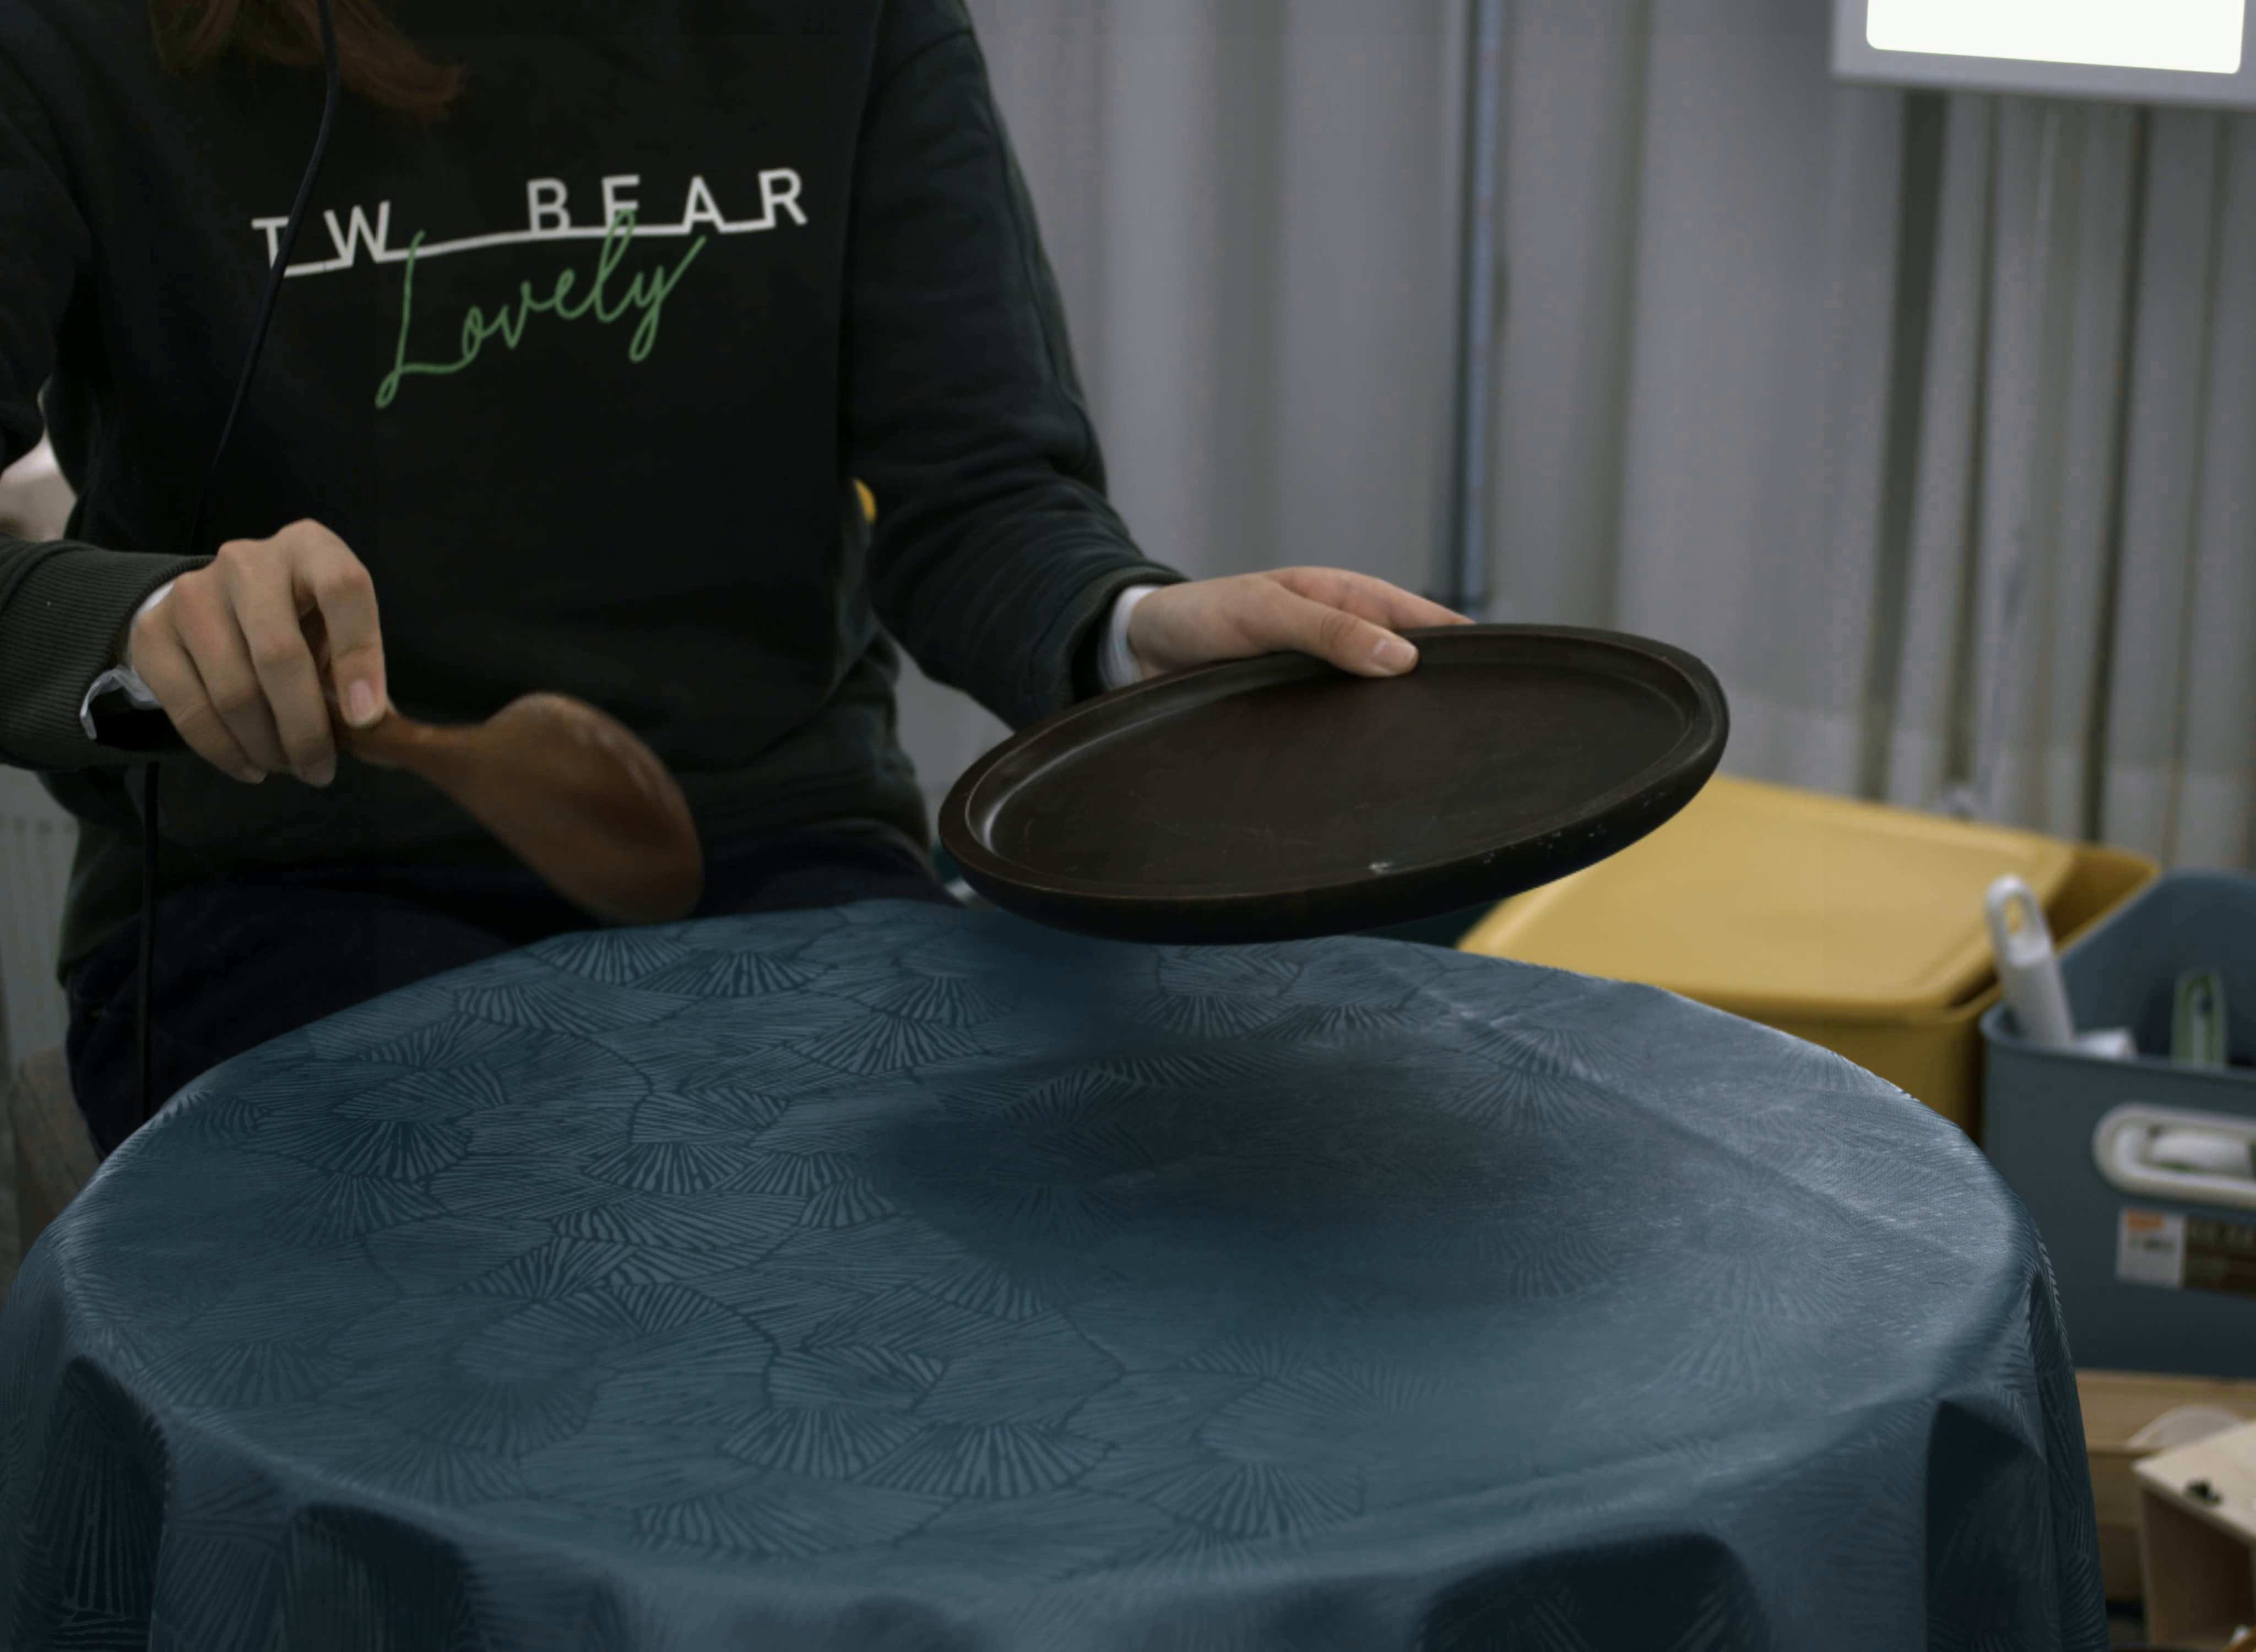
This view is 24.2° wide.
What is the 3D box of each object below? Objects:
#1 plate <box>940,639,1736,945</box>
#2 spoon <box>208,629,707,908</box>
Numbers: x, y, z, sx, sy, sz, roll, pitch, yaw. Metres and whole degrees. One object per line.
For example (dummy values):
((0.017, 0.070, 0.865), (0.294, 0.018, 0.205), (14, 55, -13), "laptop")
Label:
((0.066, -0.013, 1.662), (0.254, 0.029, 0.253), (-7, 19, 3), "plate")
((-0.201, -0.023, 1.546), (0.213, 0.076, 0.017), (20, 48, 40), "spoon")
